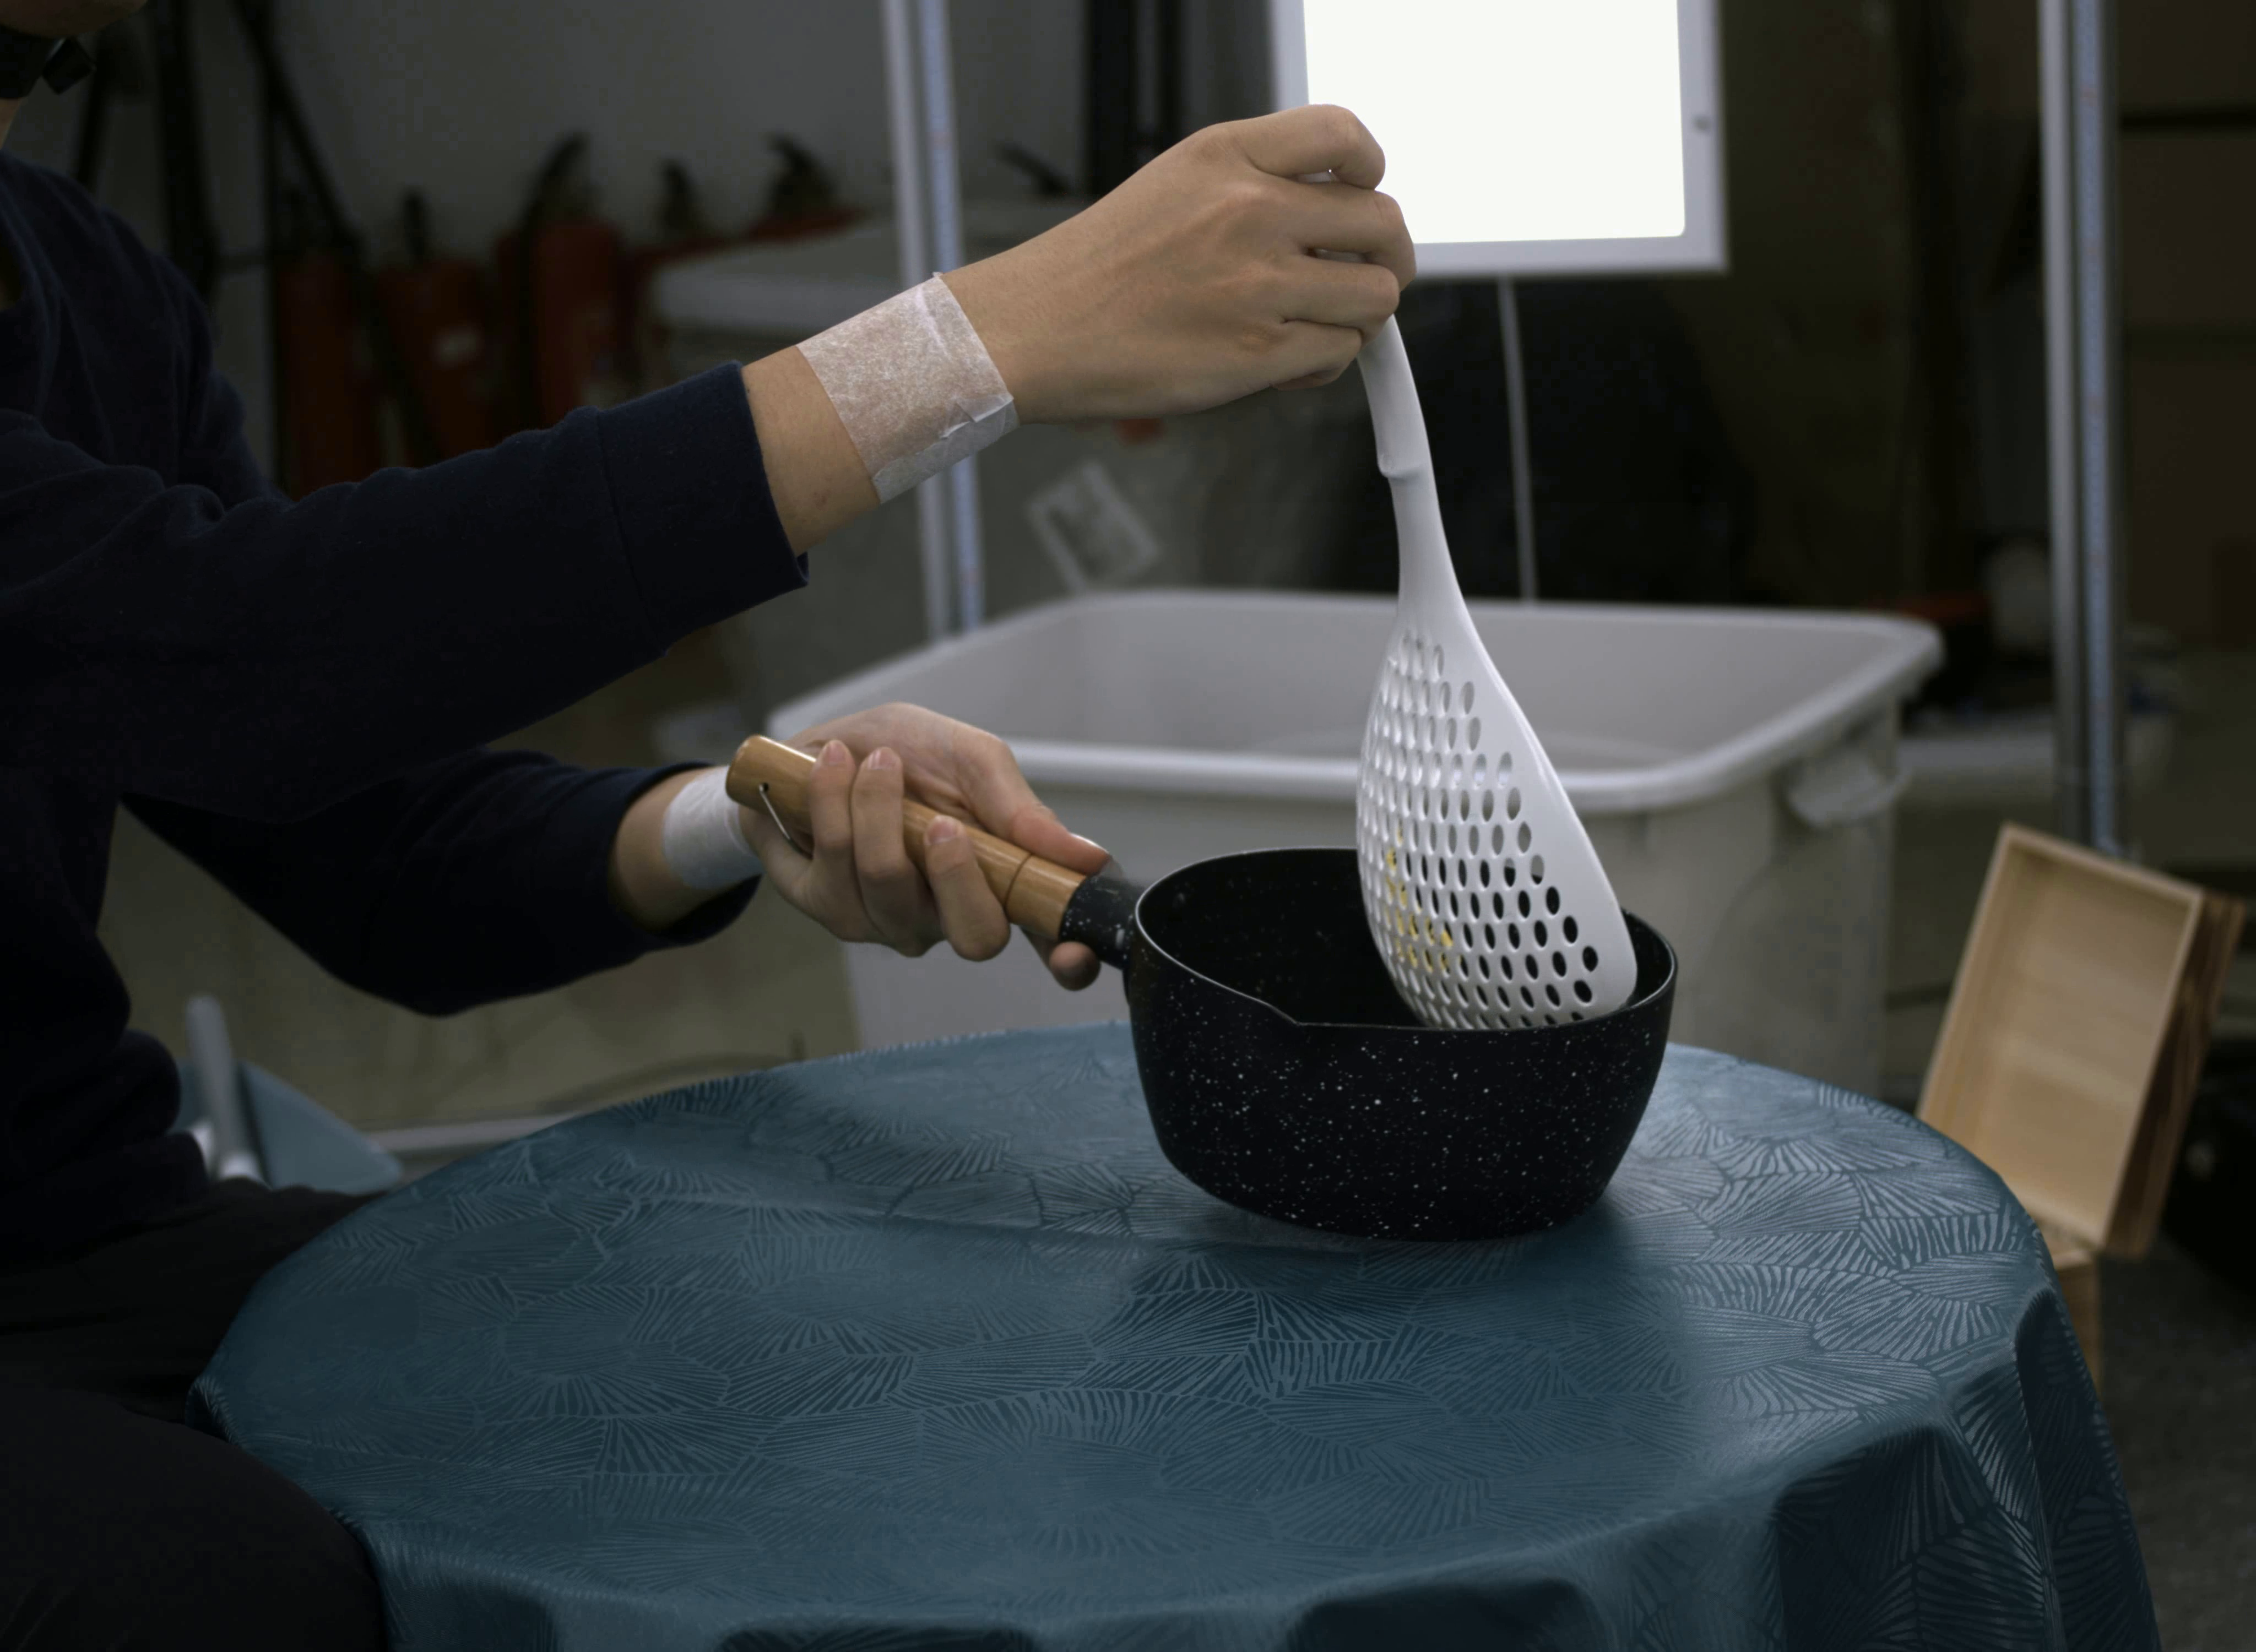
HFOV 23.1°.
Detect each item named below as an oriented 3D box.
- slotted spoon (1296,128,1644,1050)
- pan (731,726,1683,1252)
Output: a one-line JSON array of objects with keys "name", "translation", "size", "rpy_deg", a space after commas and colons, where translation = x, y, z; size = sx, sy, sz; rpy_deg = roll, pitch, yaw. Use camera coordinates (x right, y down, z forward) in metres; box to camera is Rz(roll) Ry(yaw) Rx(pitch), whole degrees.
[{"name": "slotted spoon", "translation": [0.094, -0.066, 1.786], "size": [0.049, 0.349, 0.139], "rpy_deg": [-22, 26, -30]}, {"name": "pan", "translation": [0.017, 0.050, 1.874], "size": [0.347, 0.109, 0.204], "rpy_deg": [12, 20, 19]}]
